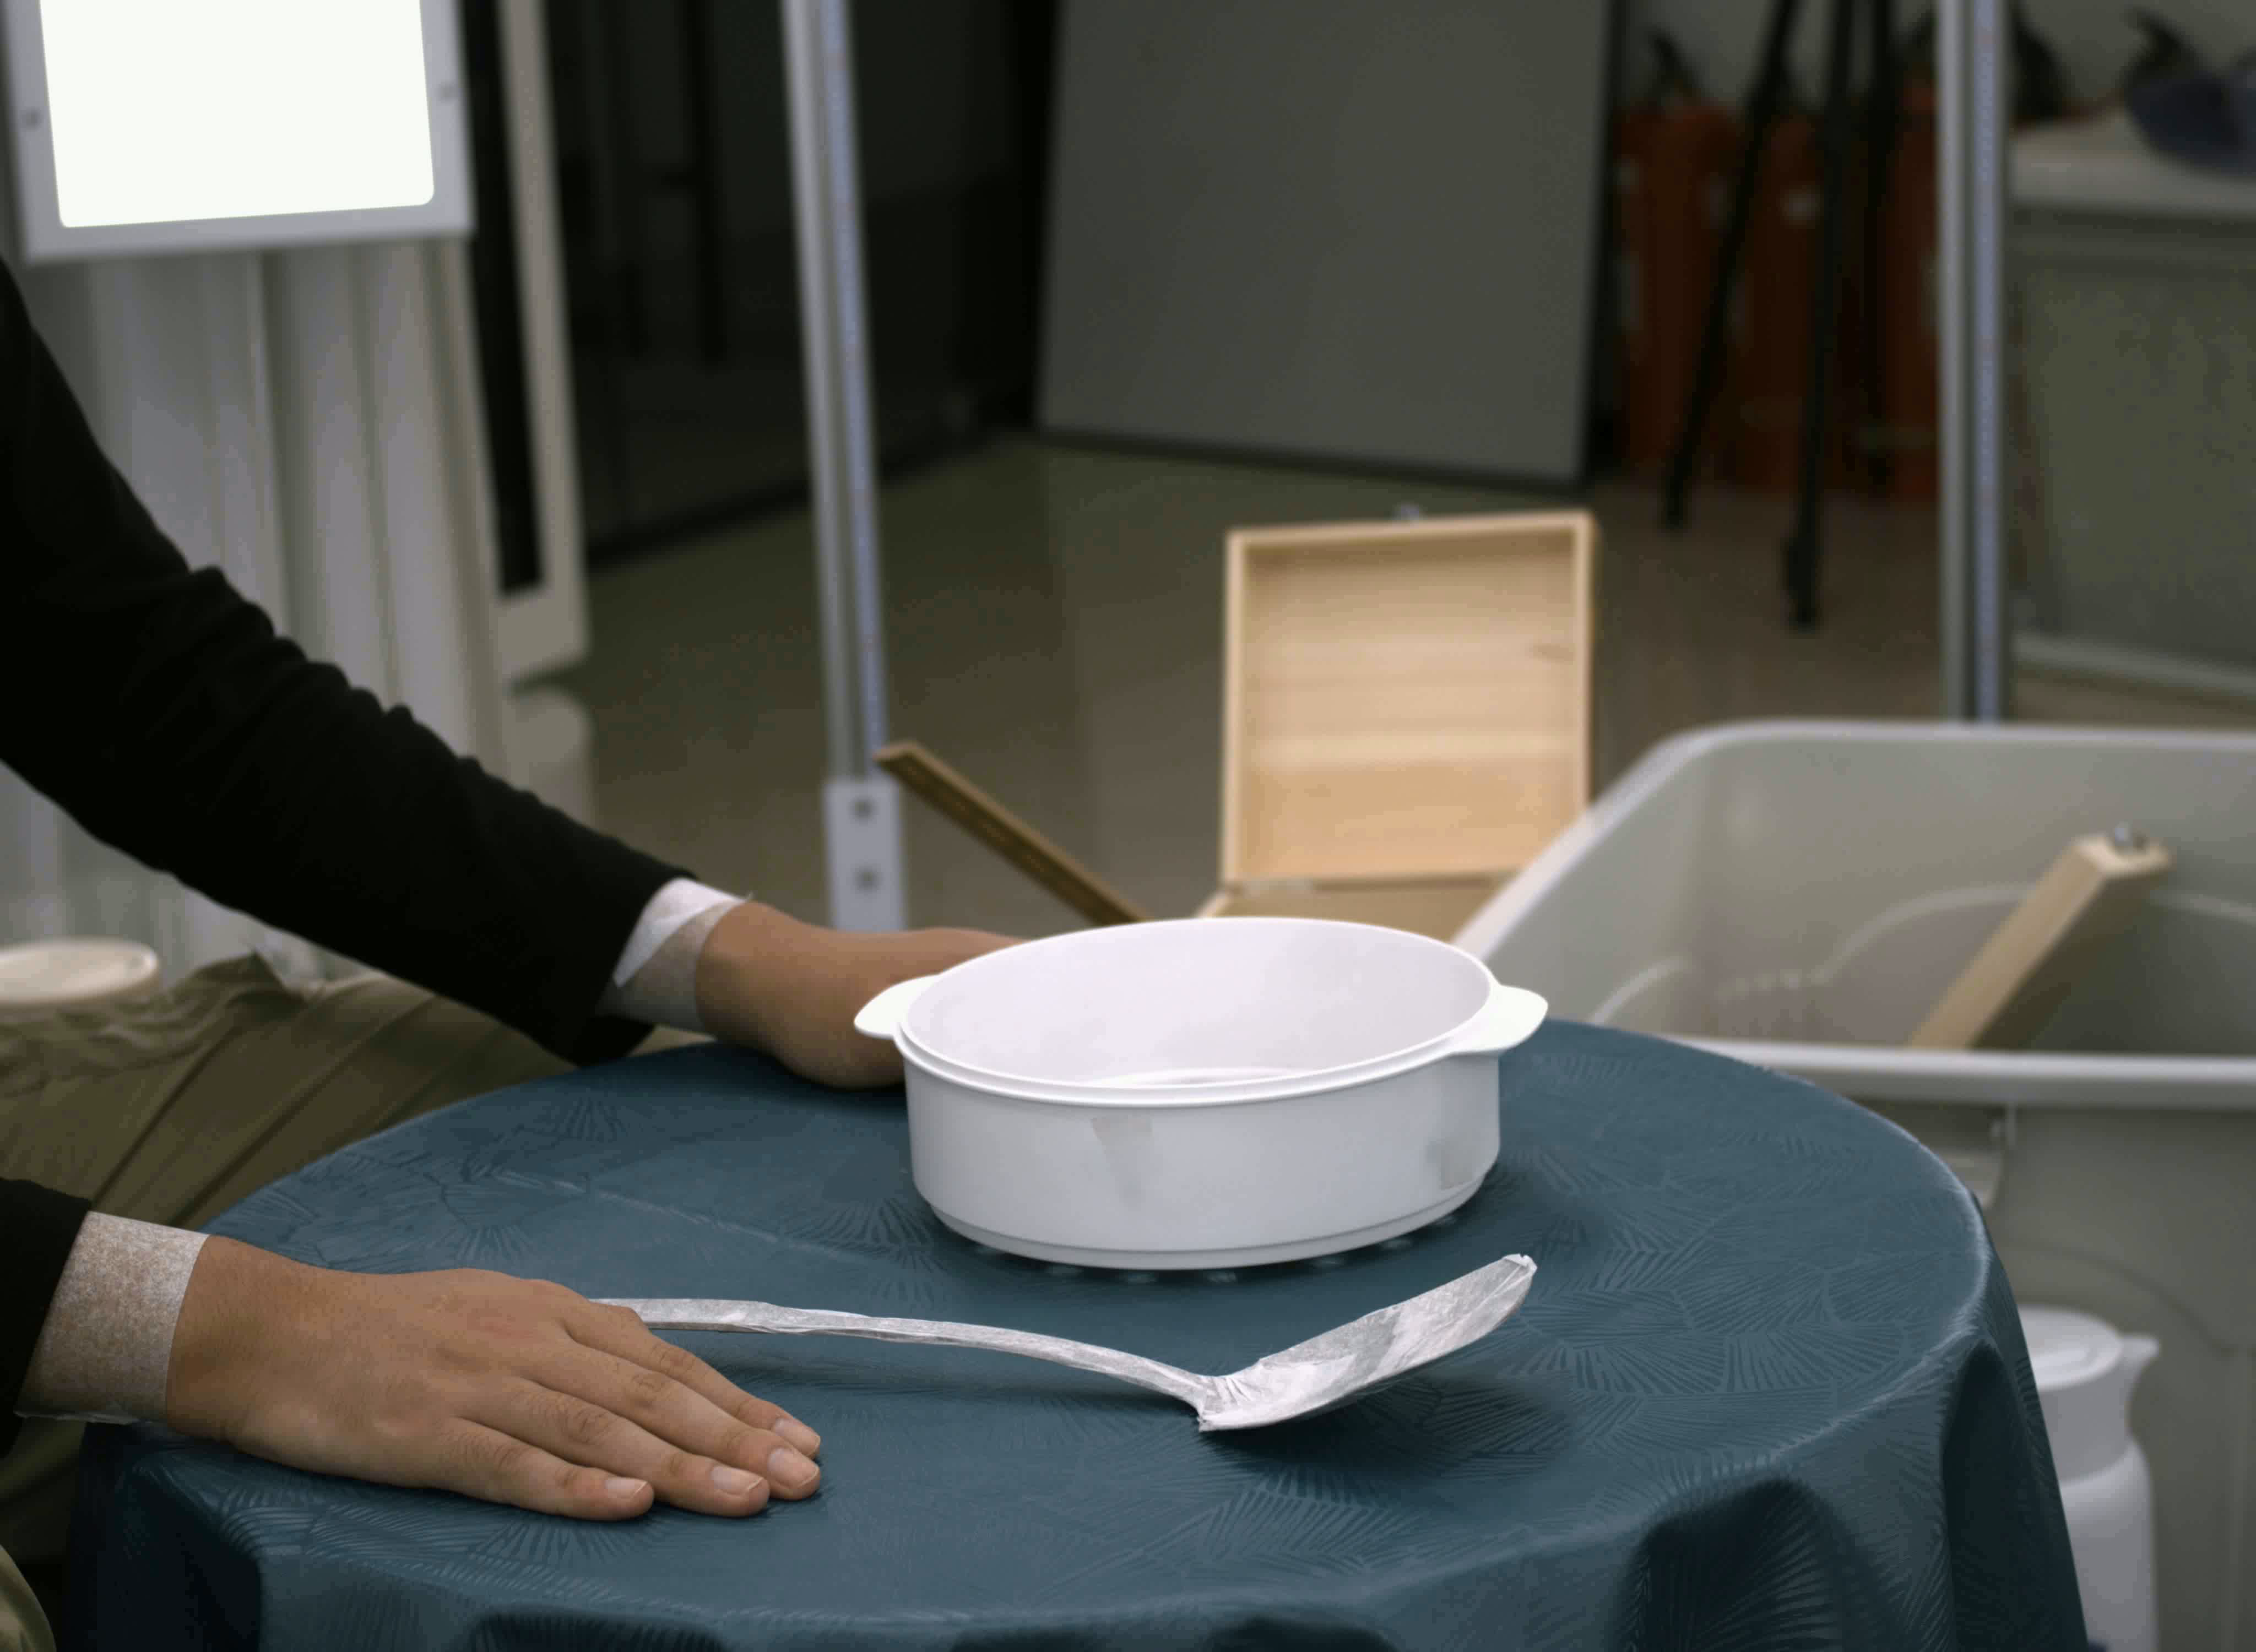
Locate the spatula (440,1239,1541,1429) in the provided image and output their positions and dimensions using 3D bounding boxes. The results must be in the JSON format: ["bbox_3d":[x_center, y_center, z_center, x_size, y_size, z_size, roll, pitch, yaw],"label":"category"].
[{"bbox_3d":[-0.053,0.147,1.601,0.365,0.045,0.097,2,17,23],"label":"spatula"}]

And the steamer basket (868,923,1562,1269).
[{"bbox_3d":[0.029,0.087,1.753,0.230,0.070,0.200,-1,13,18],"label":"steamer basket"}]
